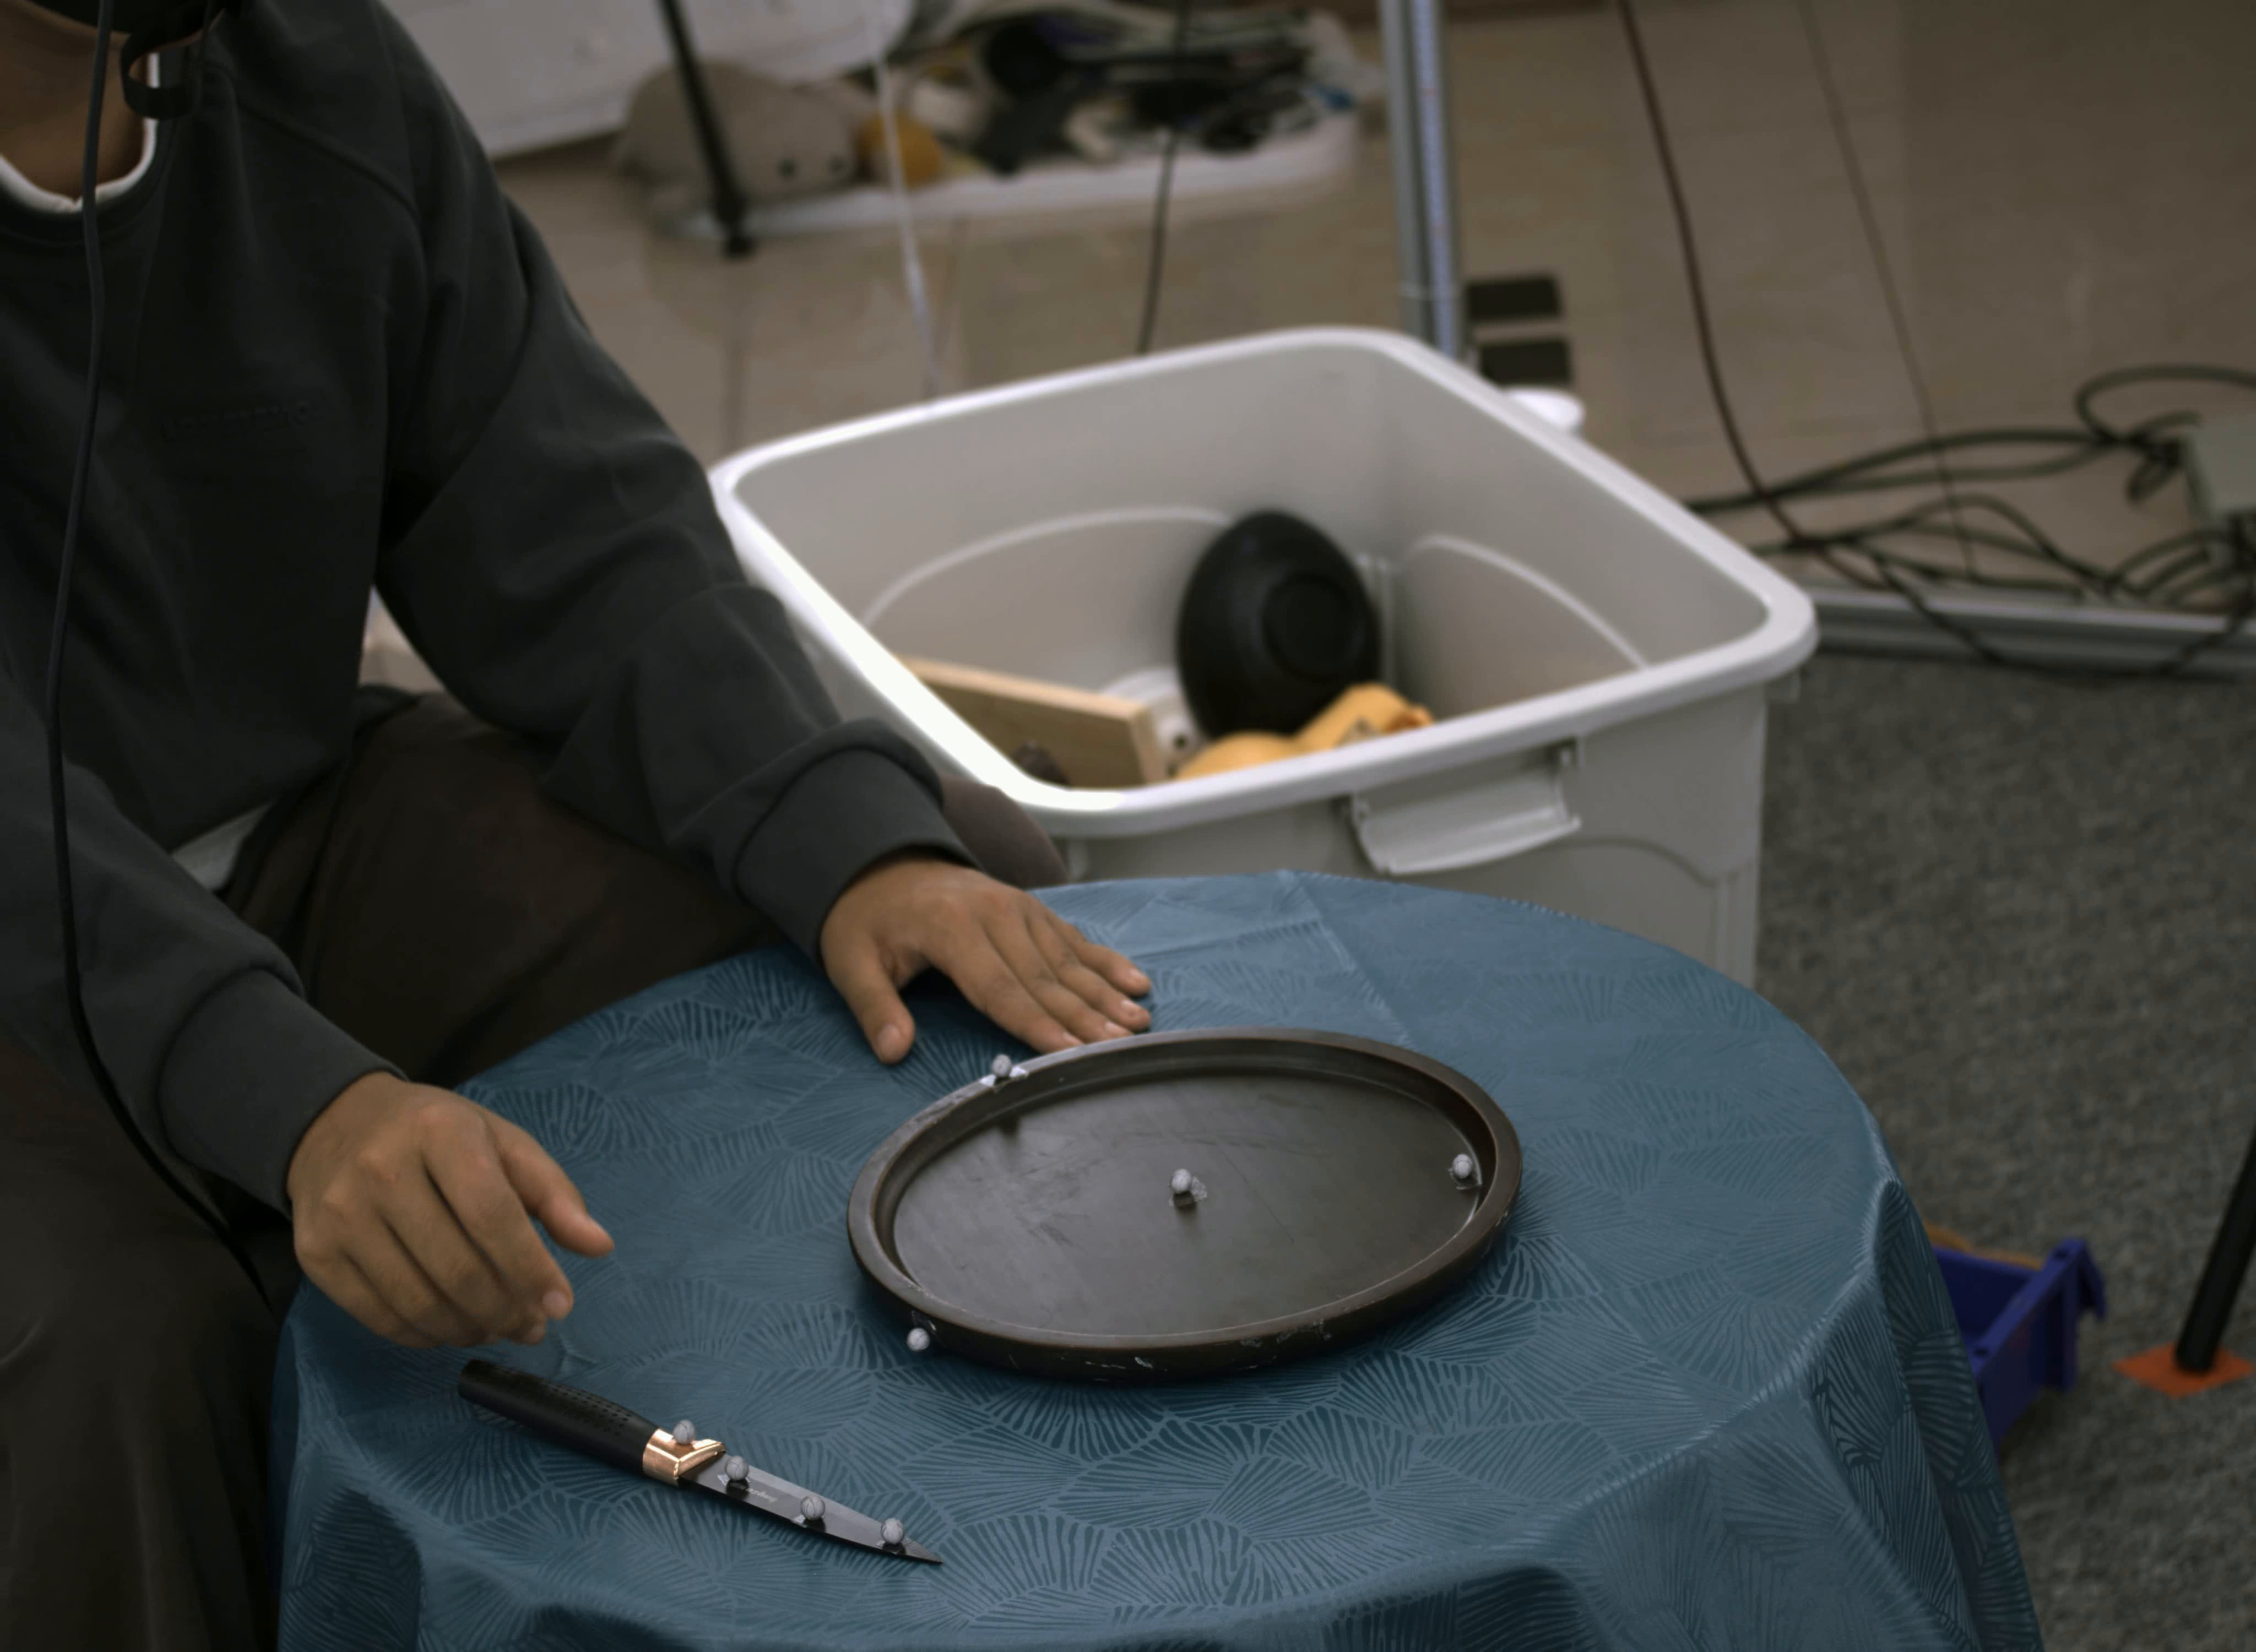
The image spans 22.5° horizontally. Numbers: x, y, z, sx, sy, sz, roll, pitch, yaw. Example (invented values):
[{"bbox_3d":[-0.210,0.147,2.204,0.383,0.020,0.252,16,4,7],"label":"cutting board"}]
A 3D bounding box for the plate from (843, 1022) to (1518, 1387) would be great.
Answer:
[{"bbox_3d":[0.020,0.139,2.114,0.254,0.029,0.251,-7,24,3],"label":"plate"}]

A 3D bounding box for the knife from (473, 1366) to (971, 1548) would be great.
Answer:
[{"bbox_3d":[-0.145,0.223,1.988,0.224,0.017,0.026,14,27,36],"label":"knife"}]
